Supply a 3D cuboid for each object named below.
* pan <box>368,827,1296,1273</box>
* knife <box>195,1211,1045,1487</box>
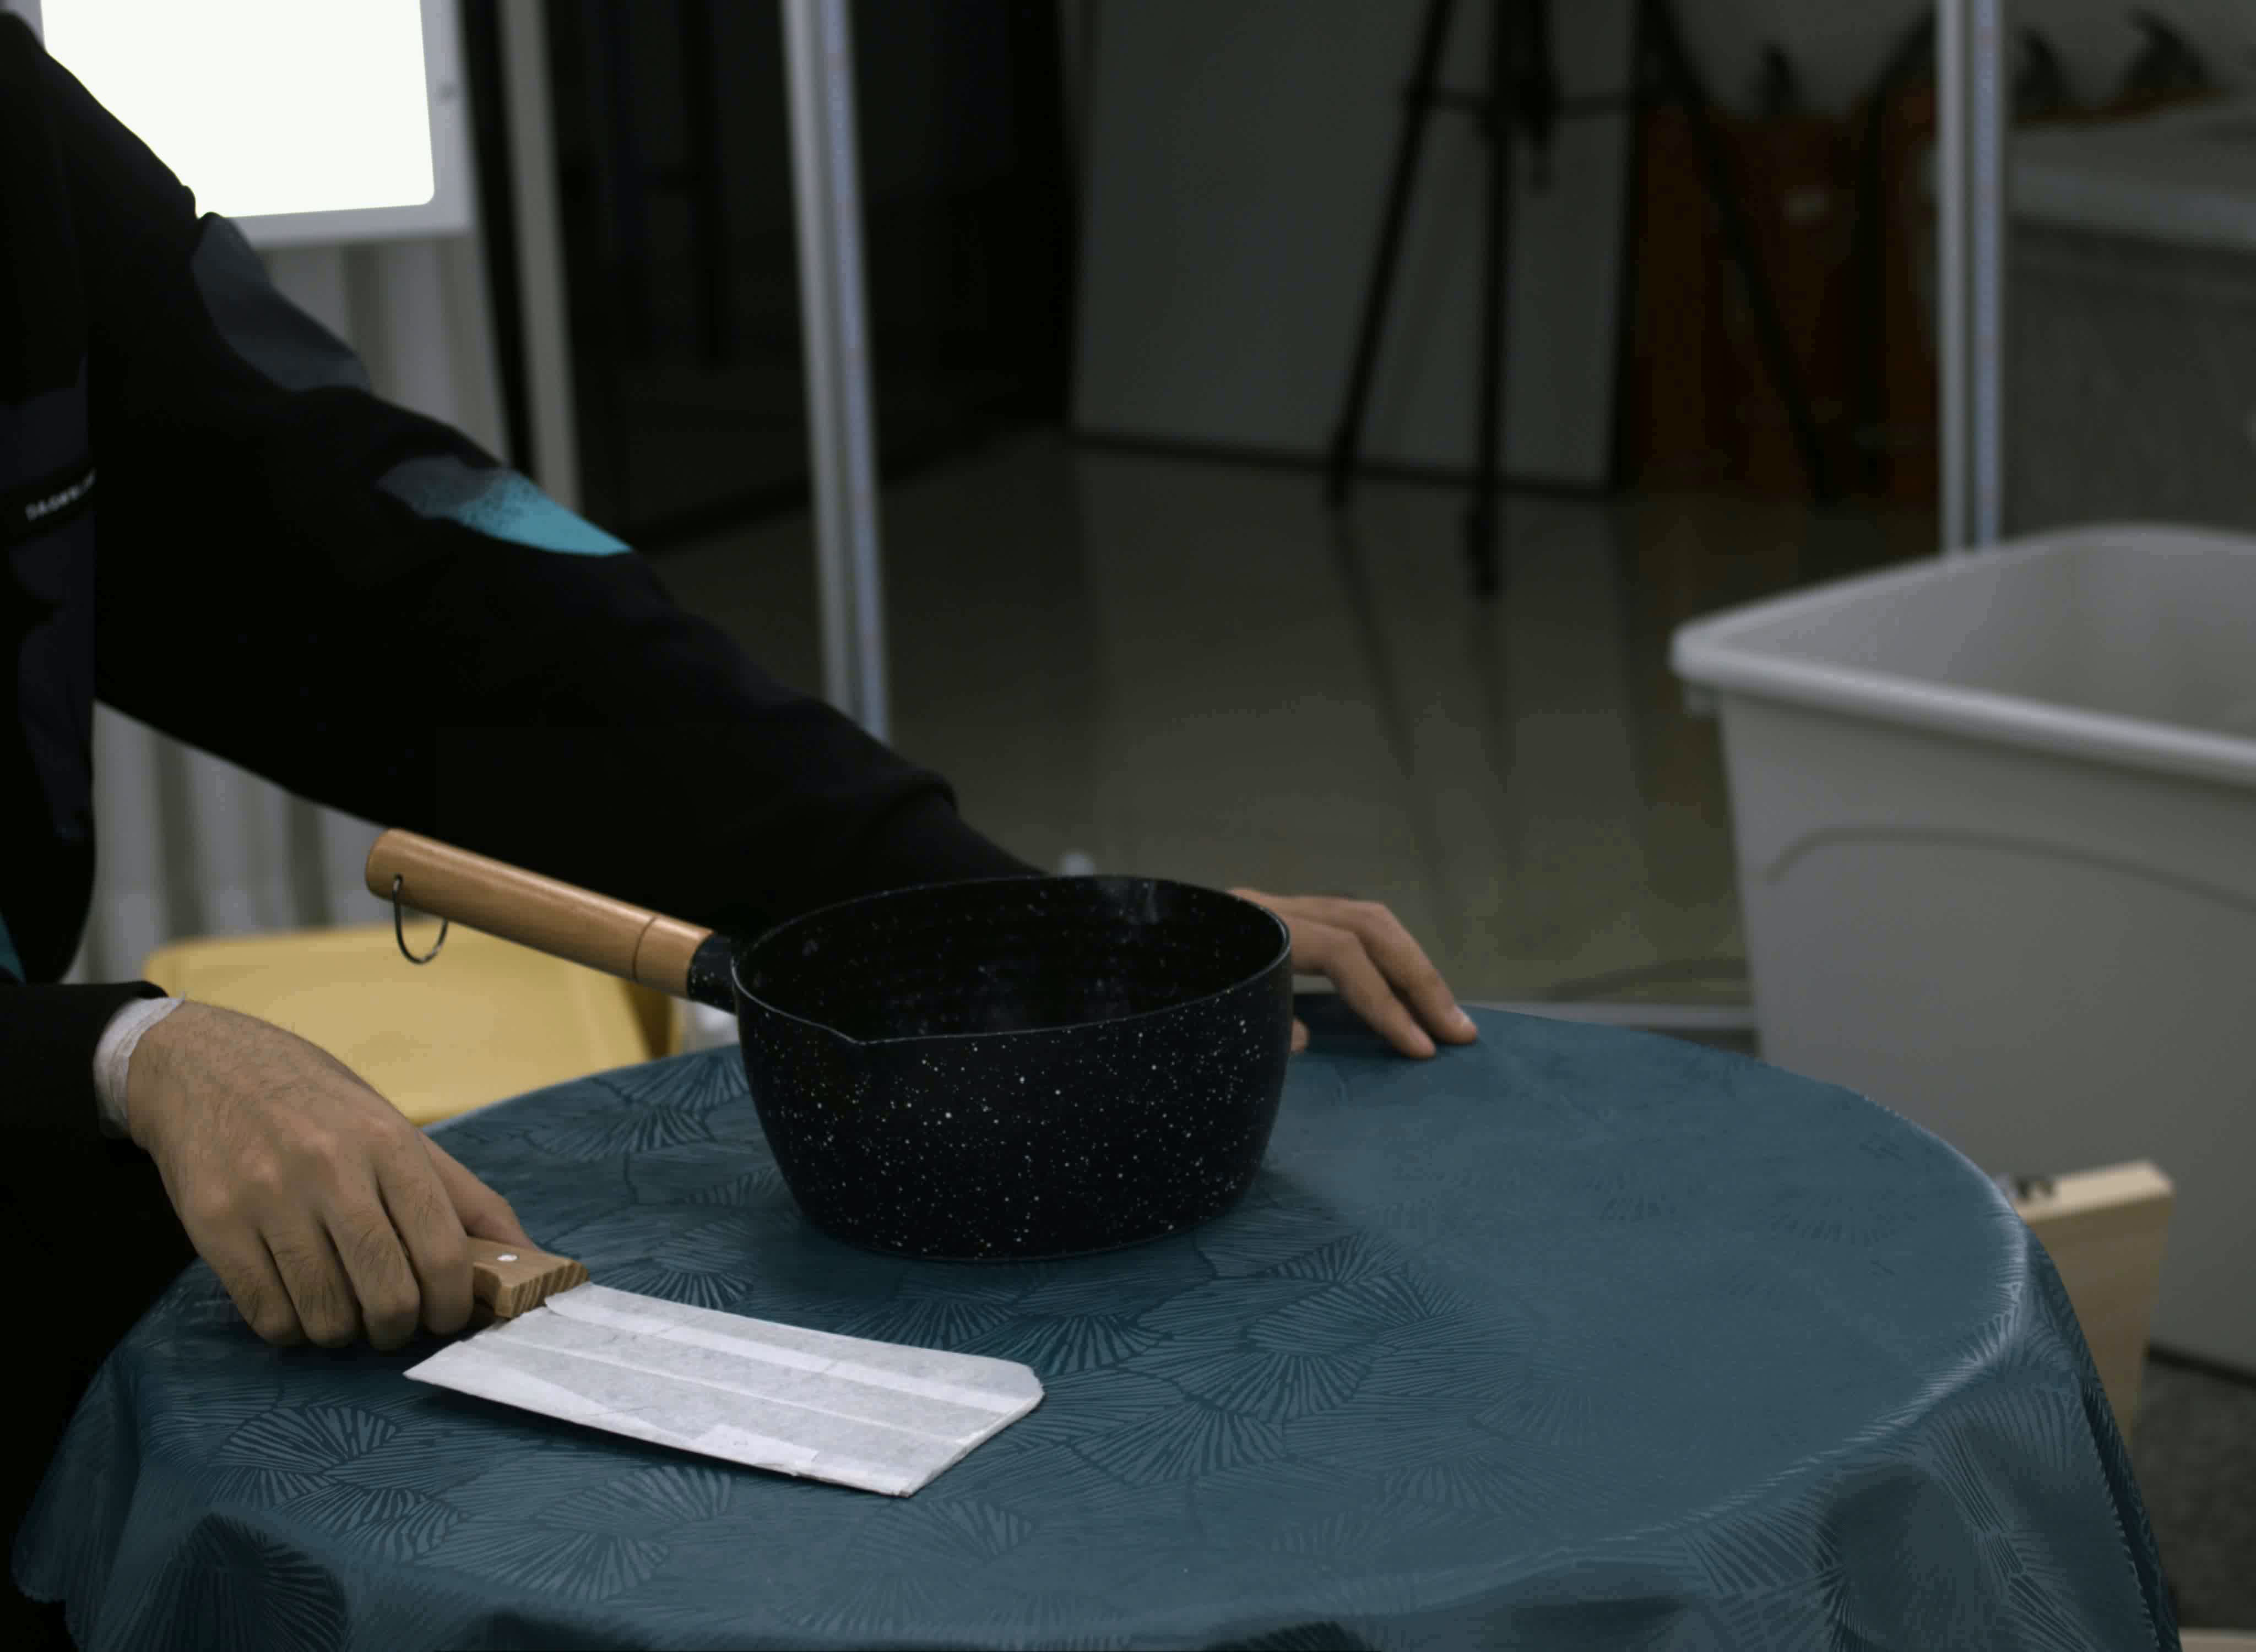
[{"bbox_3d":[-0.106,0.066,1.799,0.343,0.109,0.205,4,17,26],"label":"pan"},{"bbox_3d":[-0.162,0.156,1.639,0.317,0.022,0.112,10,19,36],"label":"knife"}]
